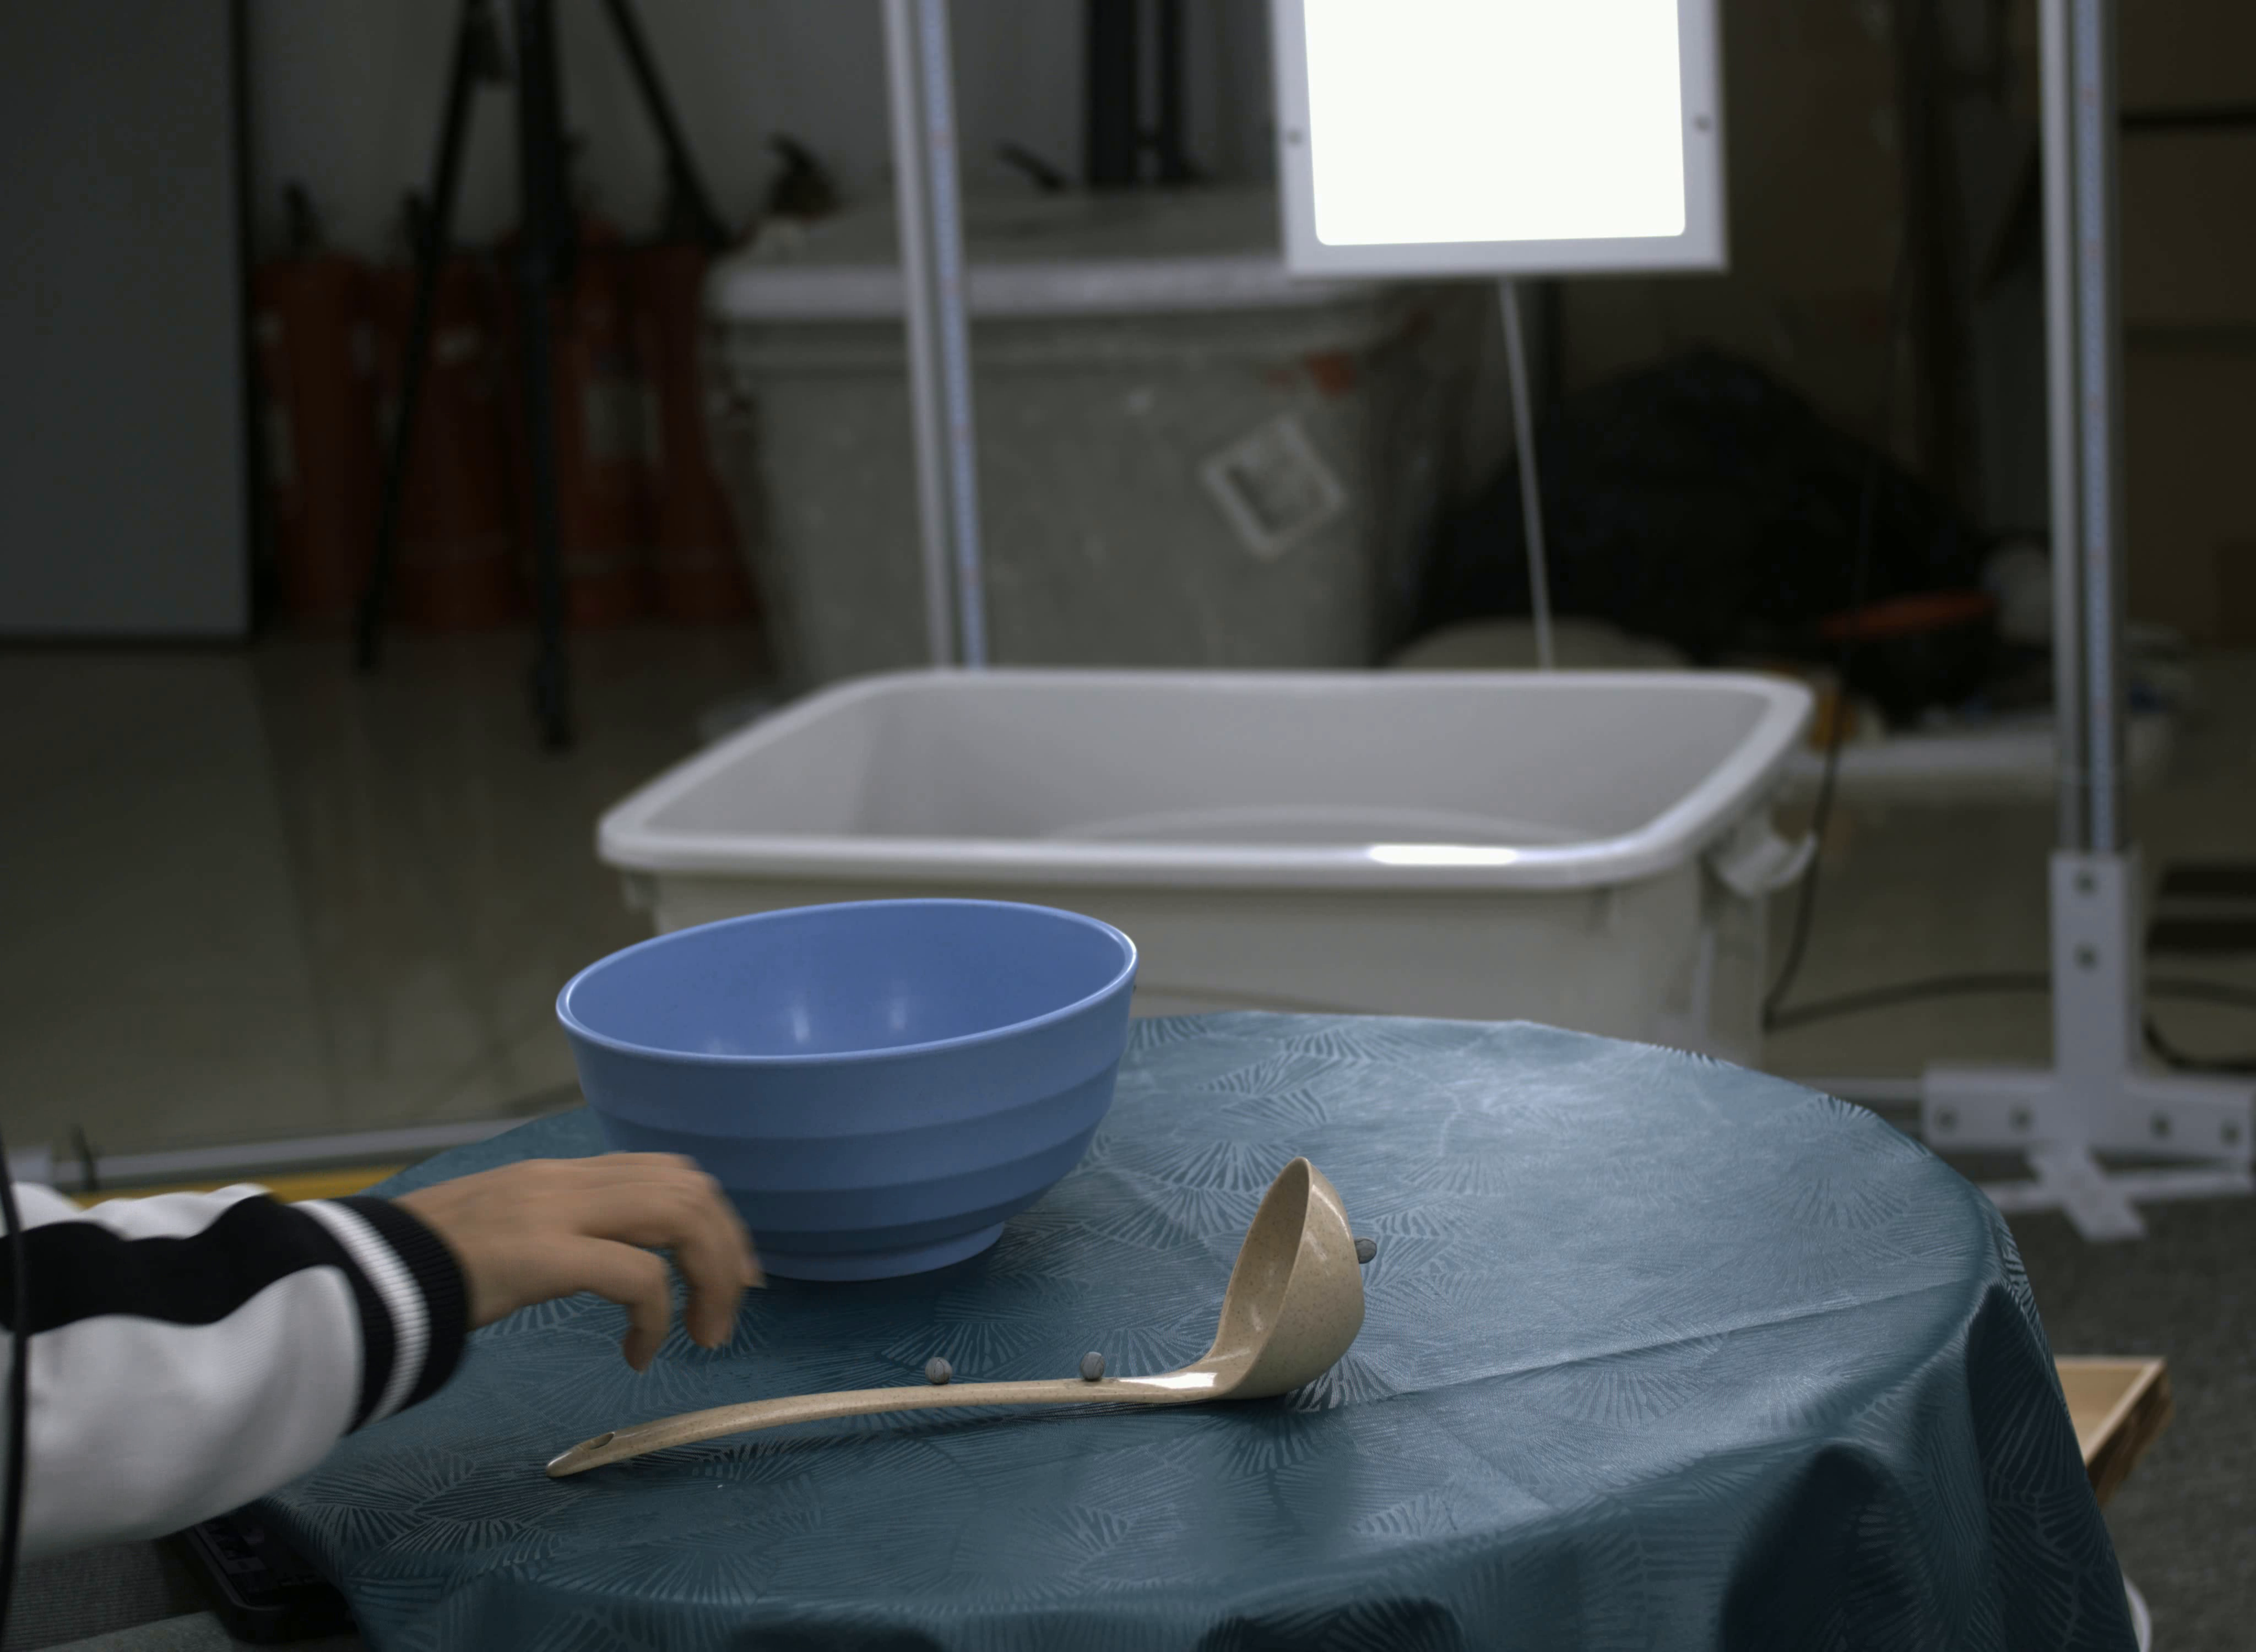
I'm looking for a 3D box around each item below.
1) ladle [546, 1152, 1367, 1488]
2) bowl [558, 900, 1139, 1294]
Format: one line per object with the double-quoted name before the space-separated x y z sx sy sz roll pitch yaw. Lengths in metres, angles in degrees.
"ladle" -0.054 0.149 1.674 0.252 0.073 0.072 -7 13 -6
"bowl" -0.091 0.098 1.863 0.196 0.096 0.196 -5 15 0
